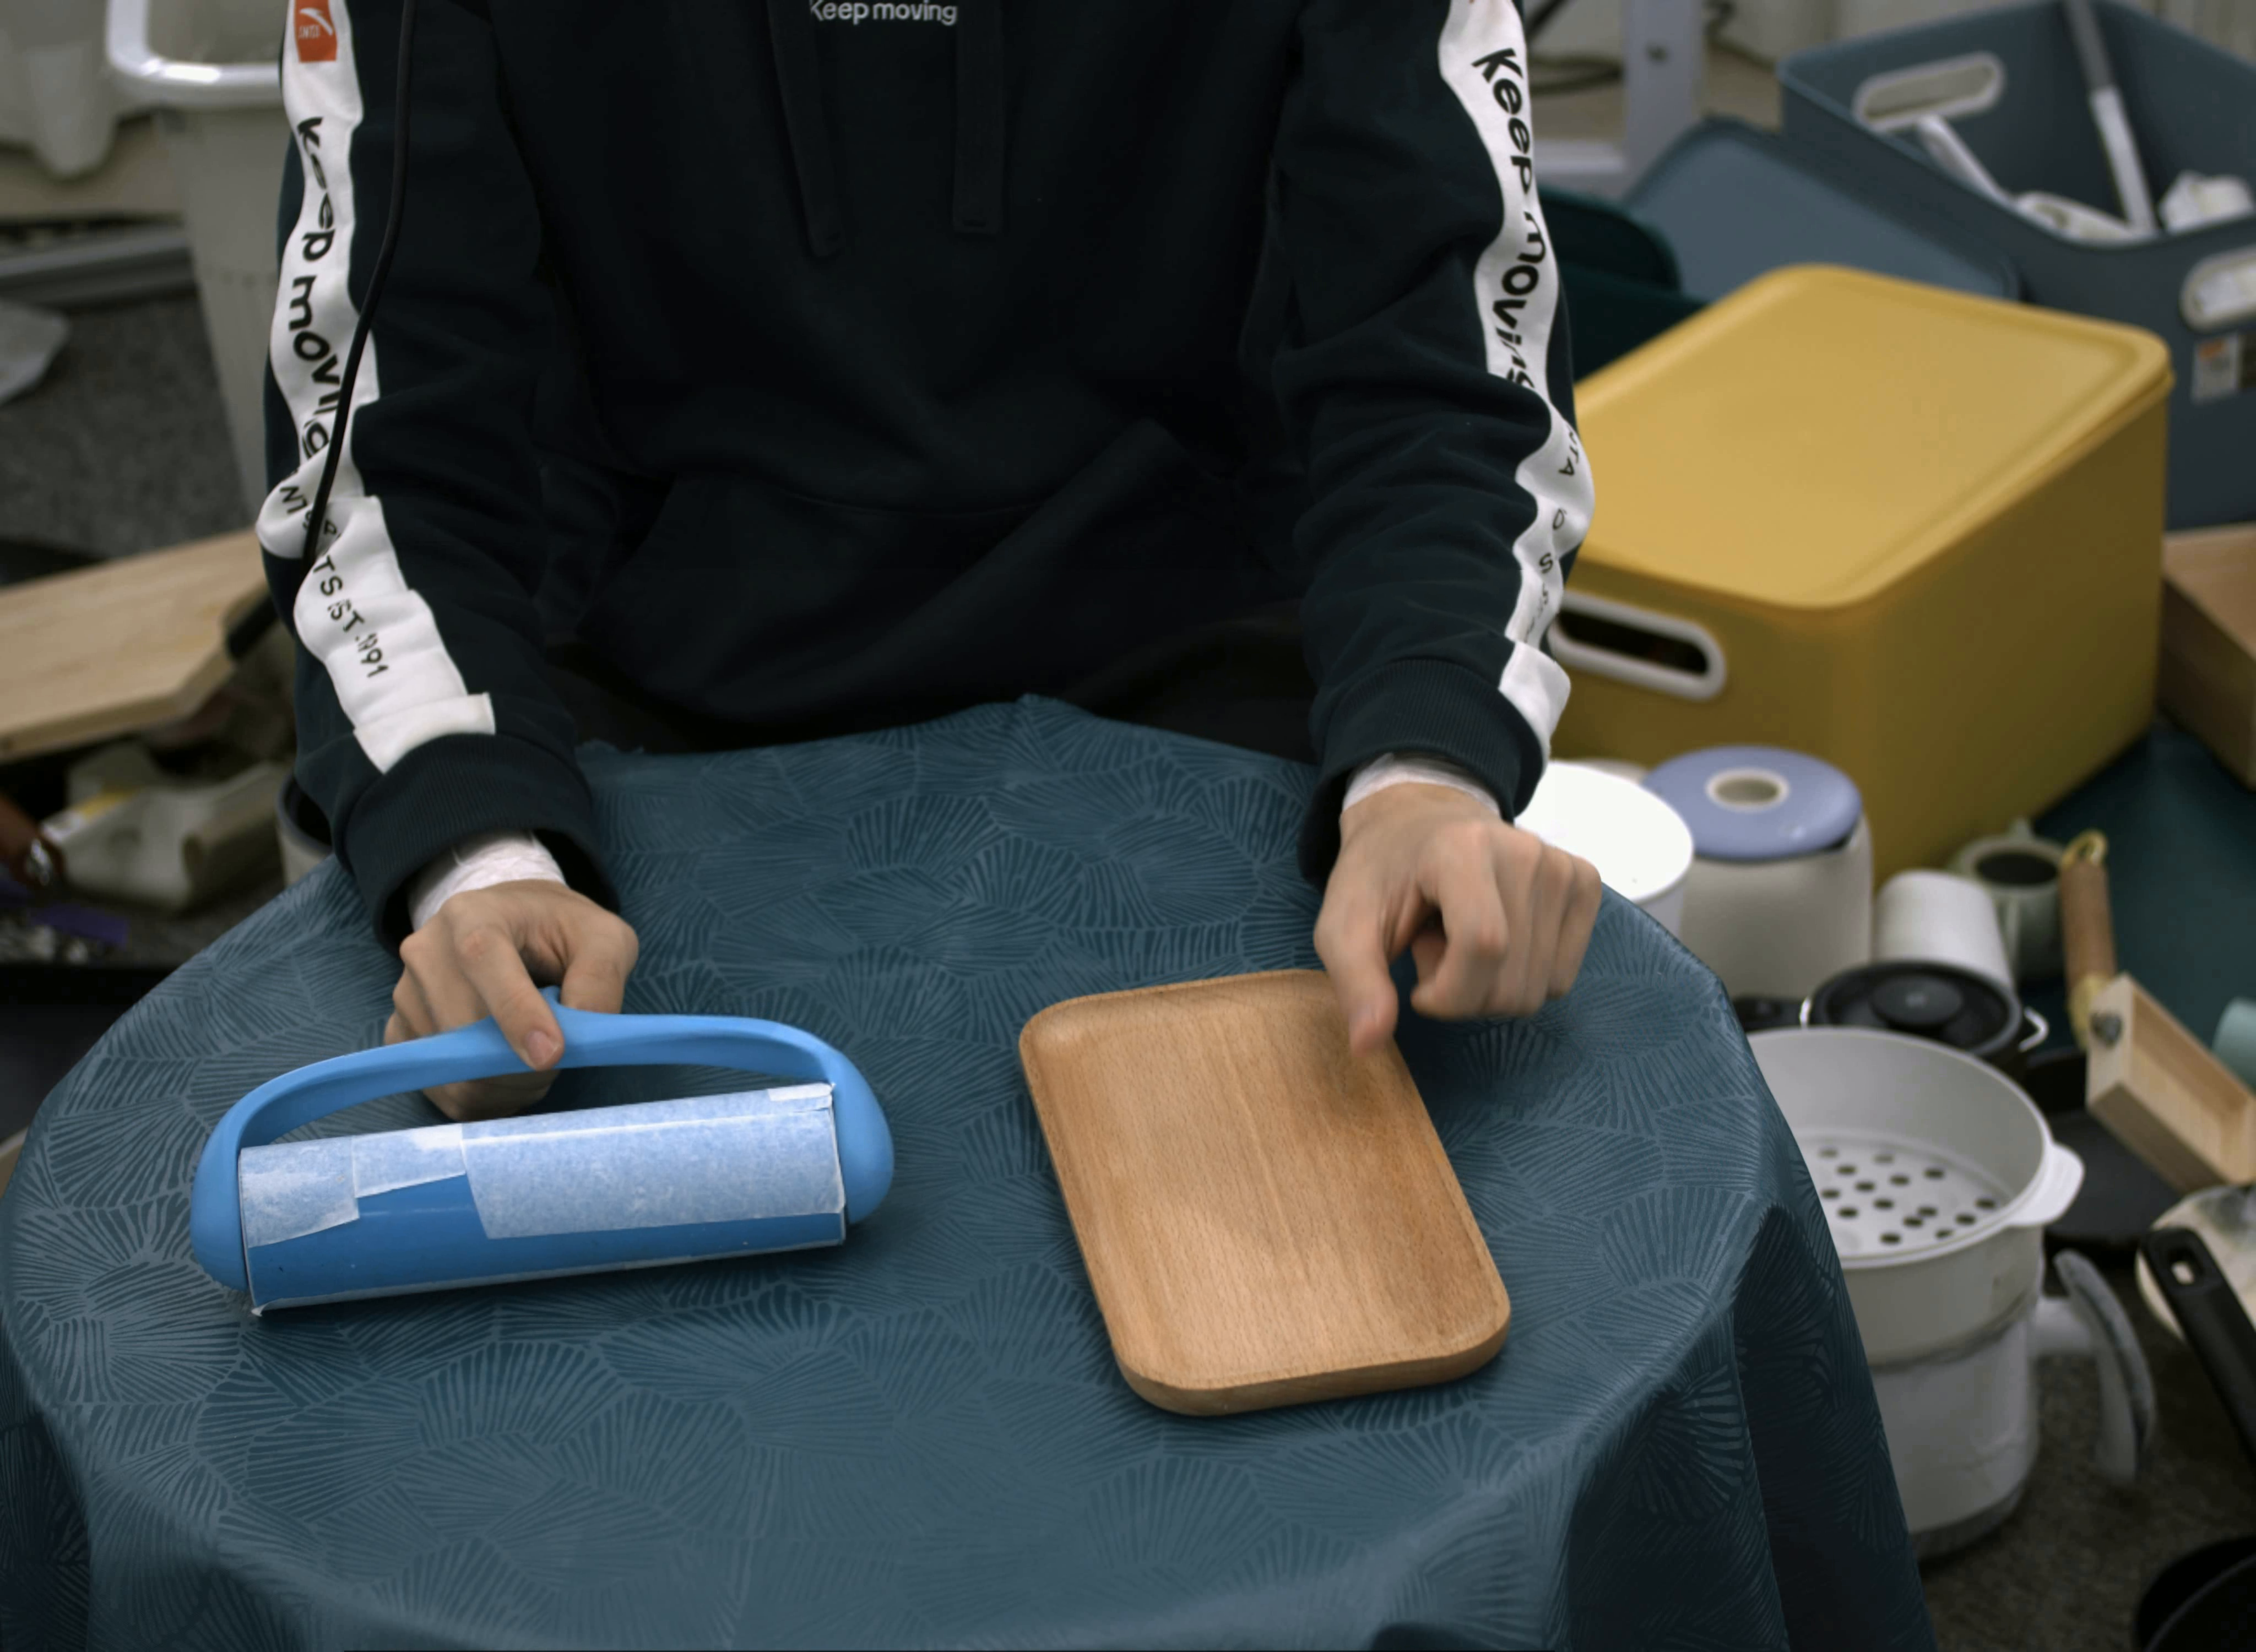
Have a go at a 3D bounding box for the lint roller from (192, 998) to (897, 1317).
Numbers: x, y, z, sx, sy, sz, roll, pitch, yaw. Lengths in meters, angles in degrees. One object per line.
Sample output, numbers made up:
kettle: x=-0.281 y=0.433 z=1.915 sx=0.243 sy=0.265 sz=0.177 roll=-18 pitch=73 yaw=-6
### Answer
lint roller: x=-0.199 y=0.093 z=1.873 sx=0.228 sy=0.067 sz=0.182 roll=-8 pitch=28 yaw=-8

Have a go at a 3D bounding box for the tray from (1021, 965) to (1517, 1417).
tray: x=0.043 y=0.117 z=1.846 sx=0.130 sy=0.022 sz=0.254 roll=-5 pitch=27 yaw=-8
